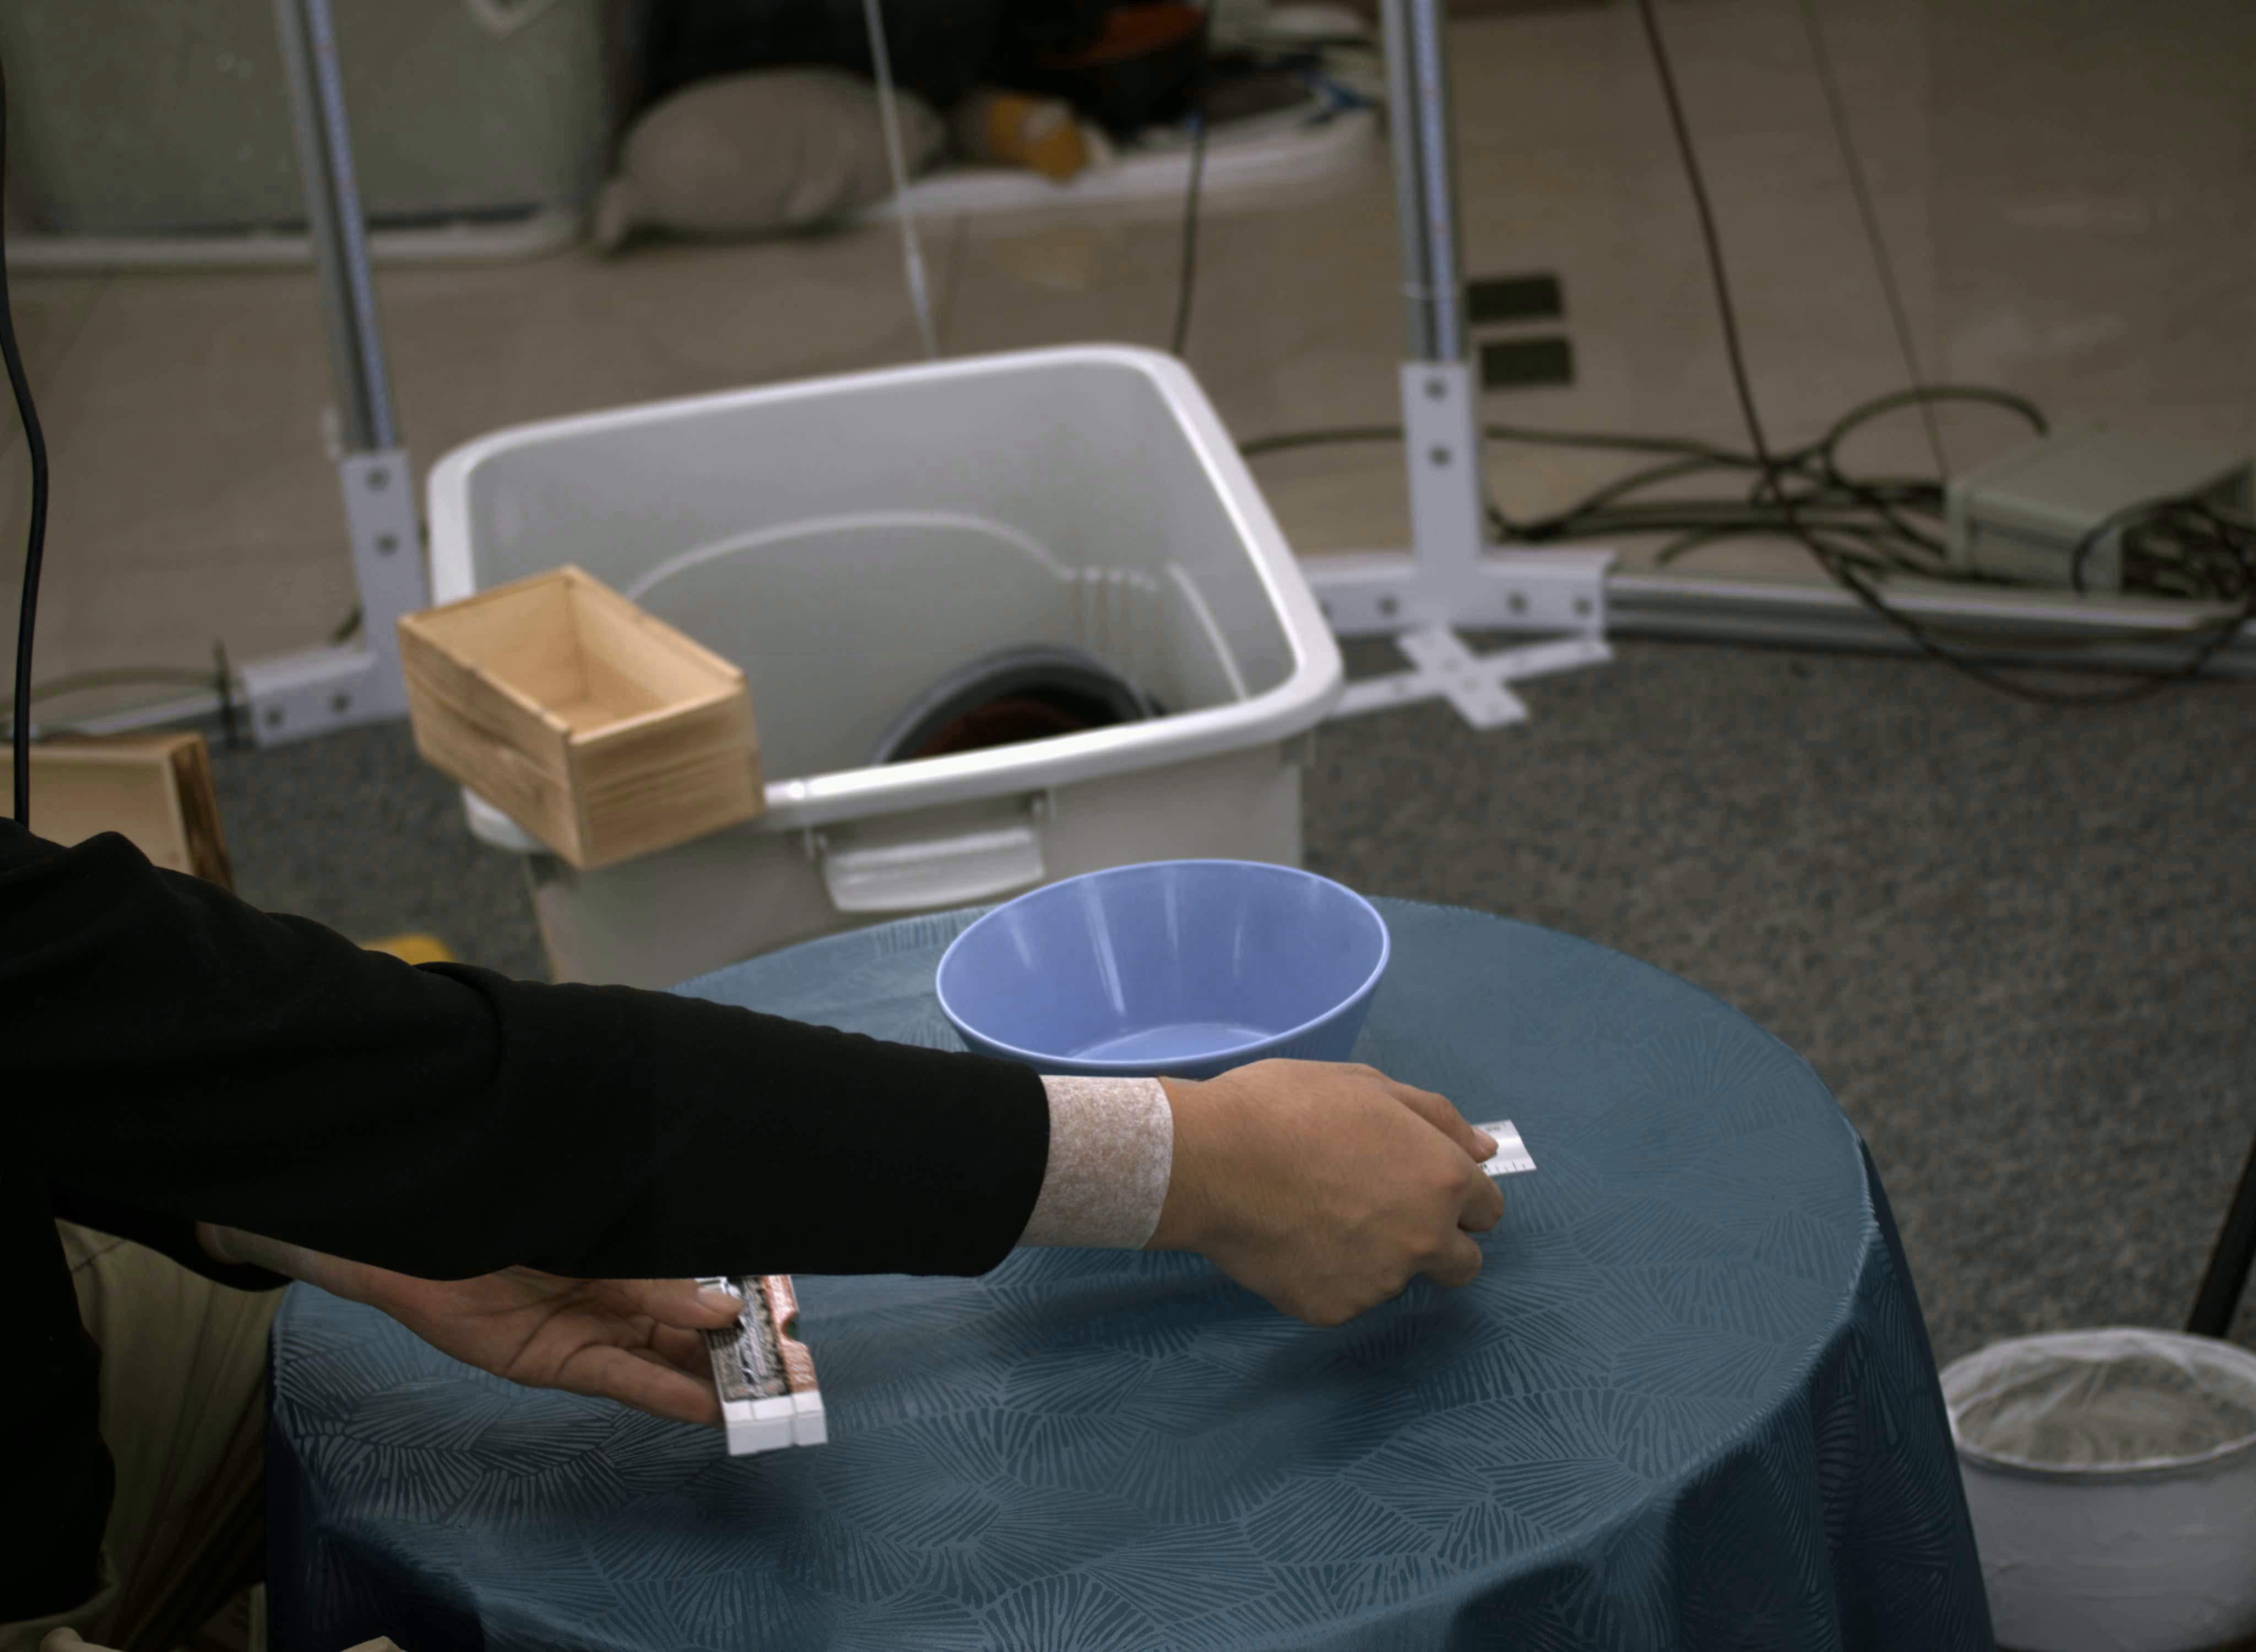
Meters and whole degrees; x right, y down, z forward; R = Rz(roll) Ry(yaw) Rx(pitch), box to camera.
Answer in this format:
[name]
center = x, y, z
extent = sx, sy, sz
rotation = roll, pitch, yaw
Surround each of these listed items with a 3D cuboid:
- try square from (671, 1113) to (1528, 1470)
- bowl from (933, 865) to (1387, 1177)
[try square]
center = -0.002, 0.160, 2.011
extent = 0.312, 0.016, 0.150
rotation = -7, 29, -7
[bowl]
center = 0.015, 0.081, 2.187
extent = 0.176, 0.071, 0.173
rotation = -5, 25, 2
